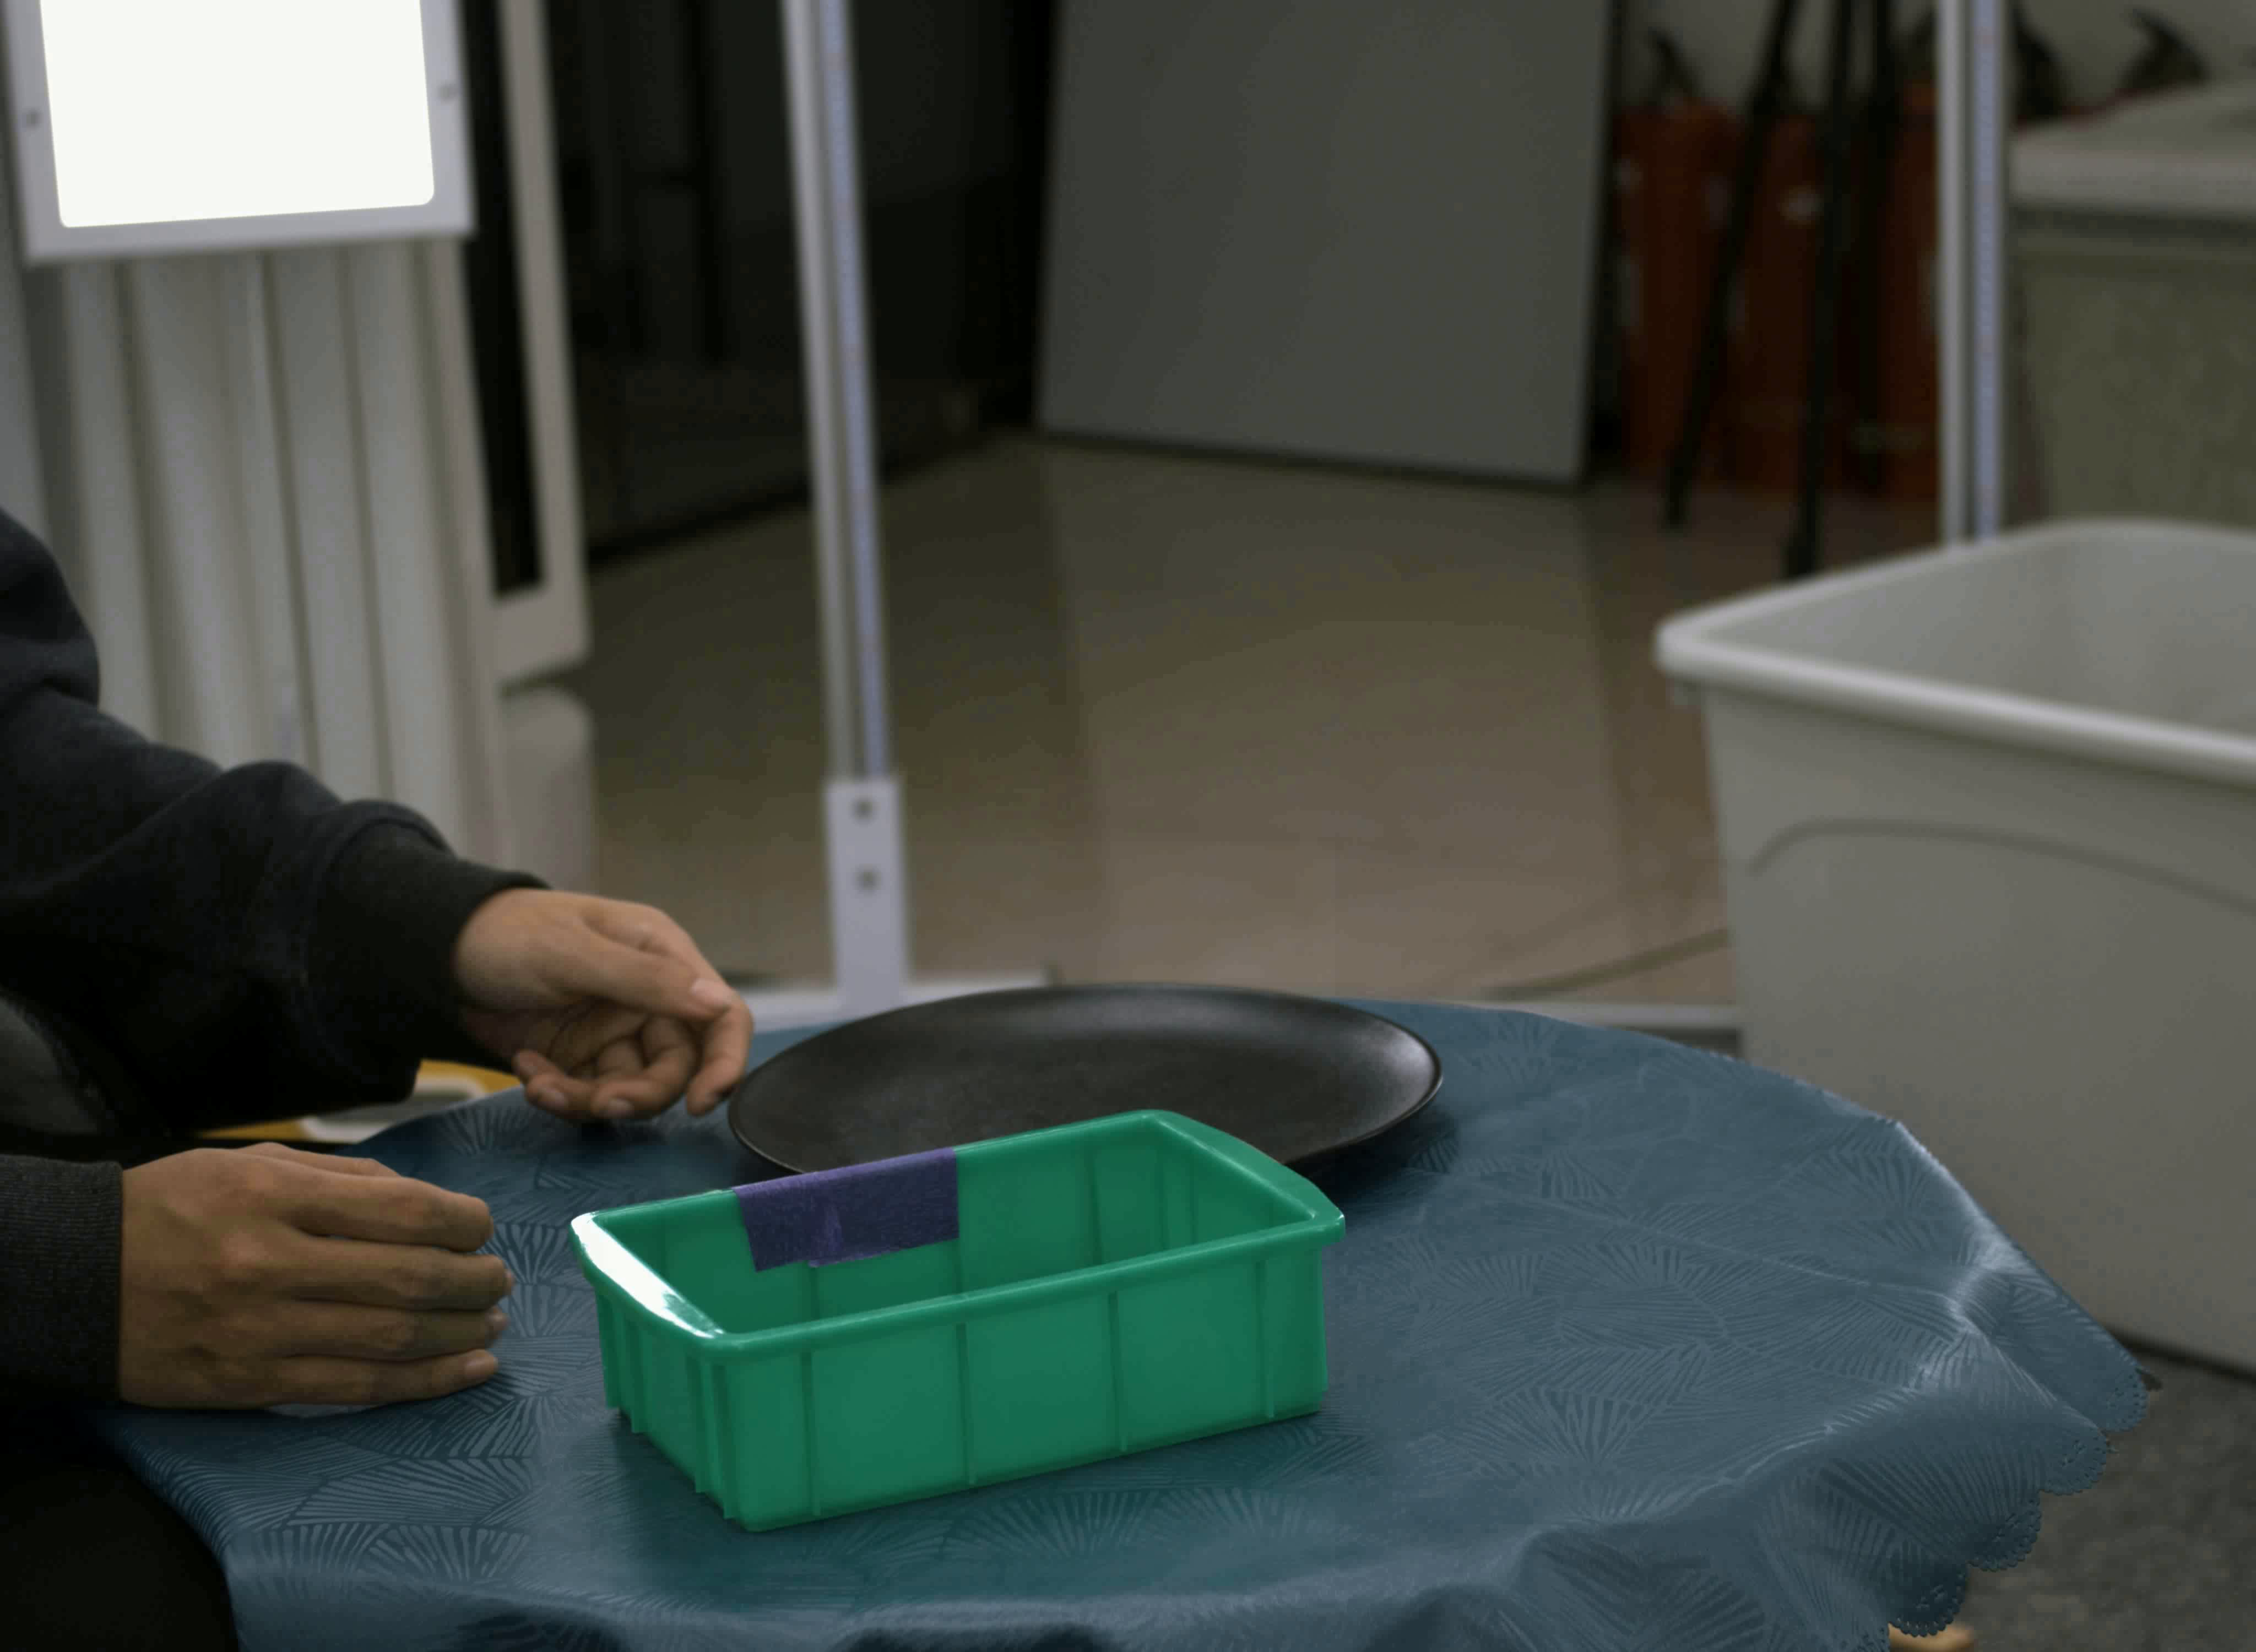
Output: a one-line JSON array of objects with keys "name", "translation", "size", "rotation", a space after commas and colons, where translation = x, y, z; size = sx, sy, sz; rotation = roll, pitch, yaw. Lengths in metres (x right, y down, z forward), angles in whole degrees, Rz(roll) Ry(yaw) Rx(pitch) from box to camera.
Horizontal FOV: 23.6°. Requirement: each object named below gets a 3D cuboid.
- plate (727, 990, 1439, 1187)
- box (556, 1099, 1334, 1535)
[{"name": "plate", "translation": [-0.015, 0.098, 1.819], "size": [0.241, 0.024, 0.245], "rotation": [-4, 14, 0]}, {"name": "box", "translation": [-0.051, 0.141, 1.566], "size": [0.206, 0.066, 0.140], "rotation": [-12, 13, -22]}]
